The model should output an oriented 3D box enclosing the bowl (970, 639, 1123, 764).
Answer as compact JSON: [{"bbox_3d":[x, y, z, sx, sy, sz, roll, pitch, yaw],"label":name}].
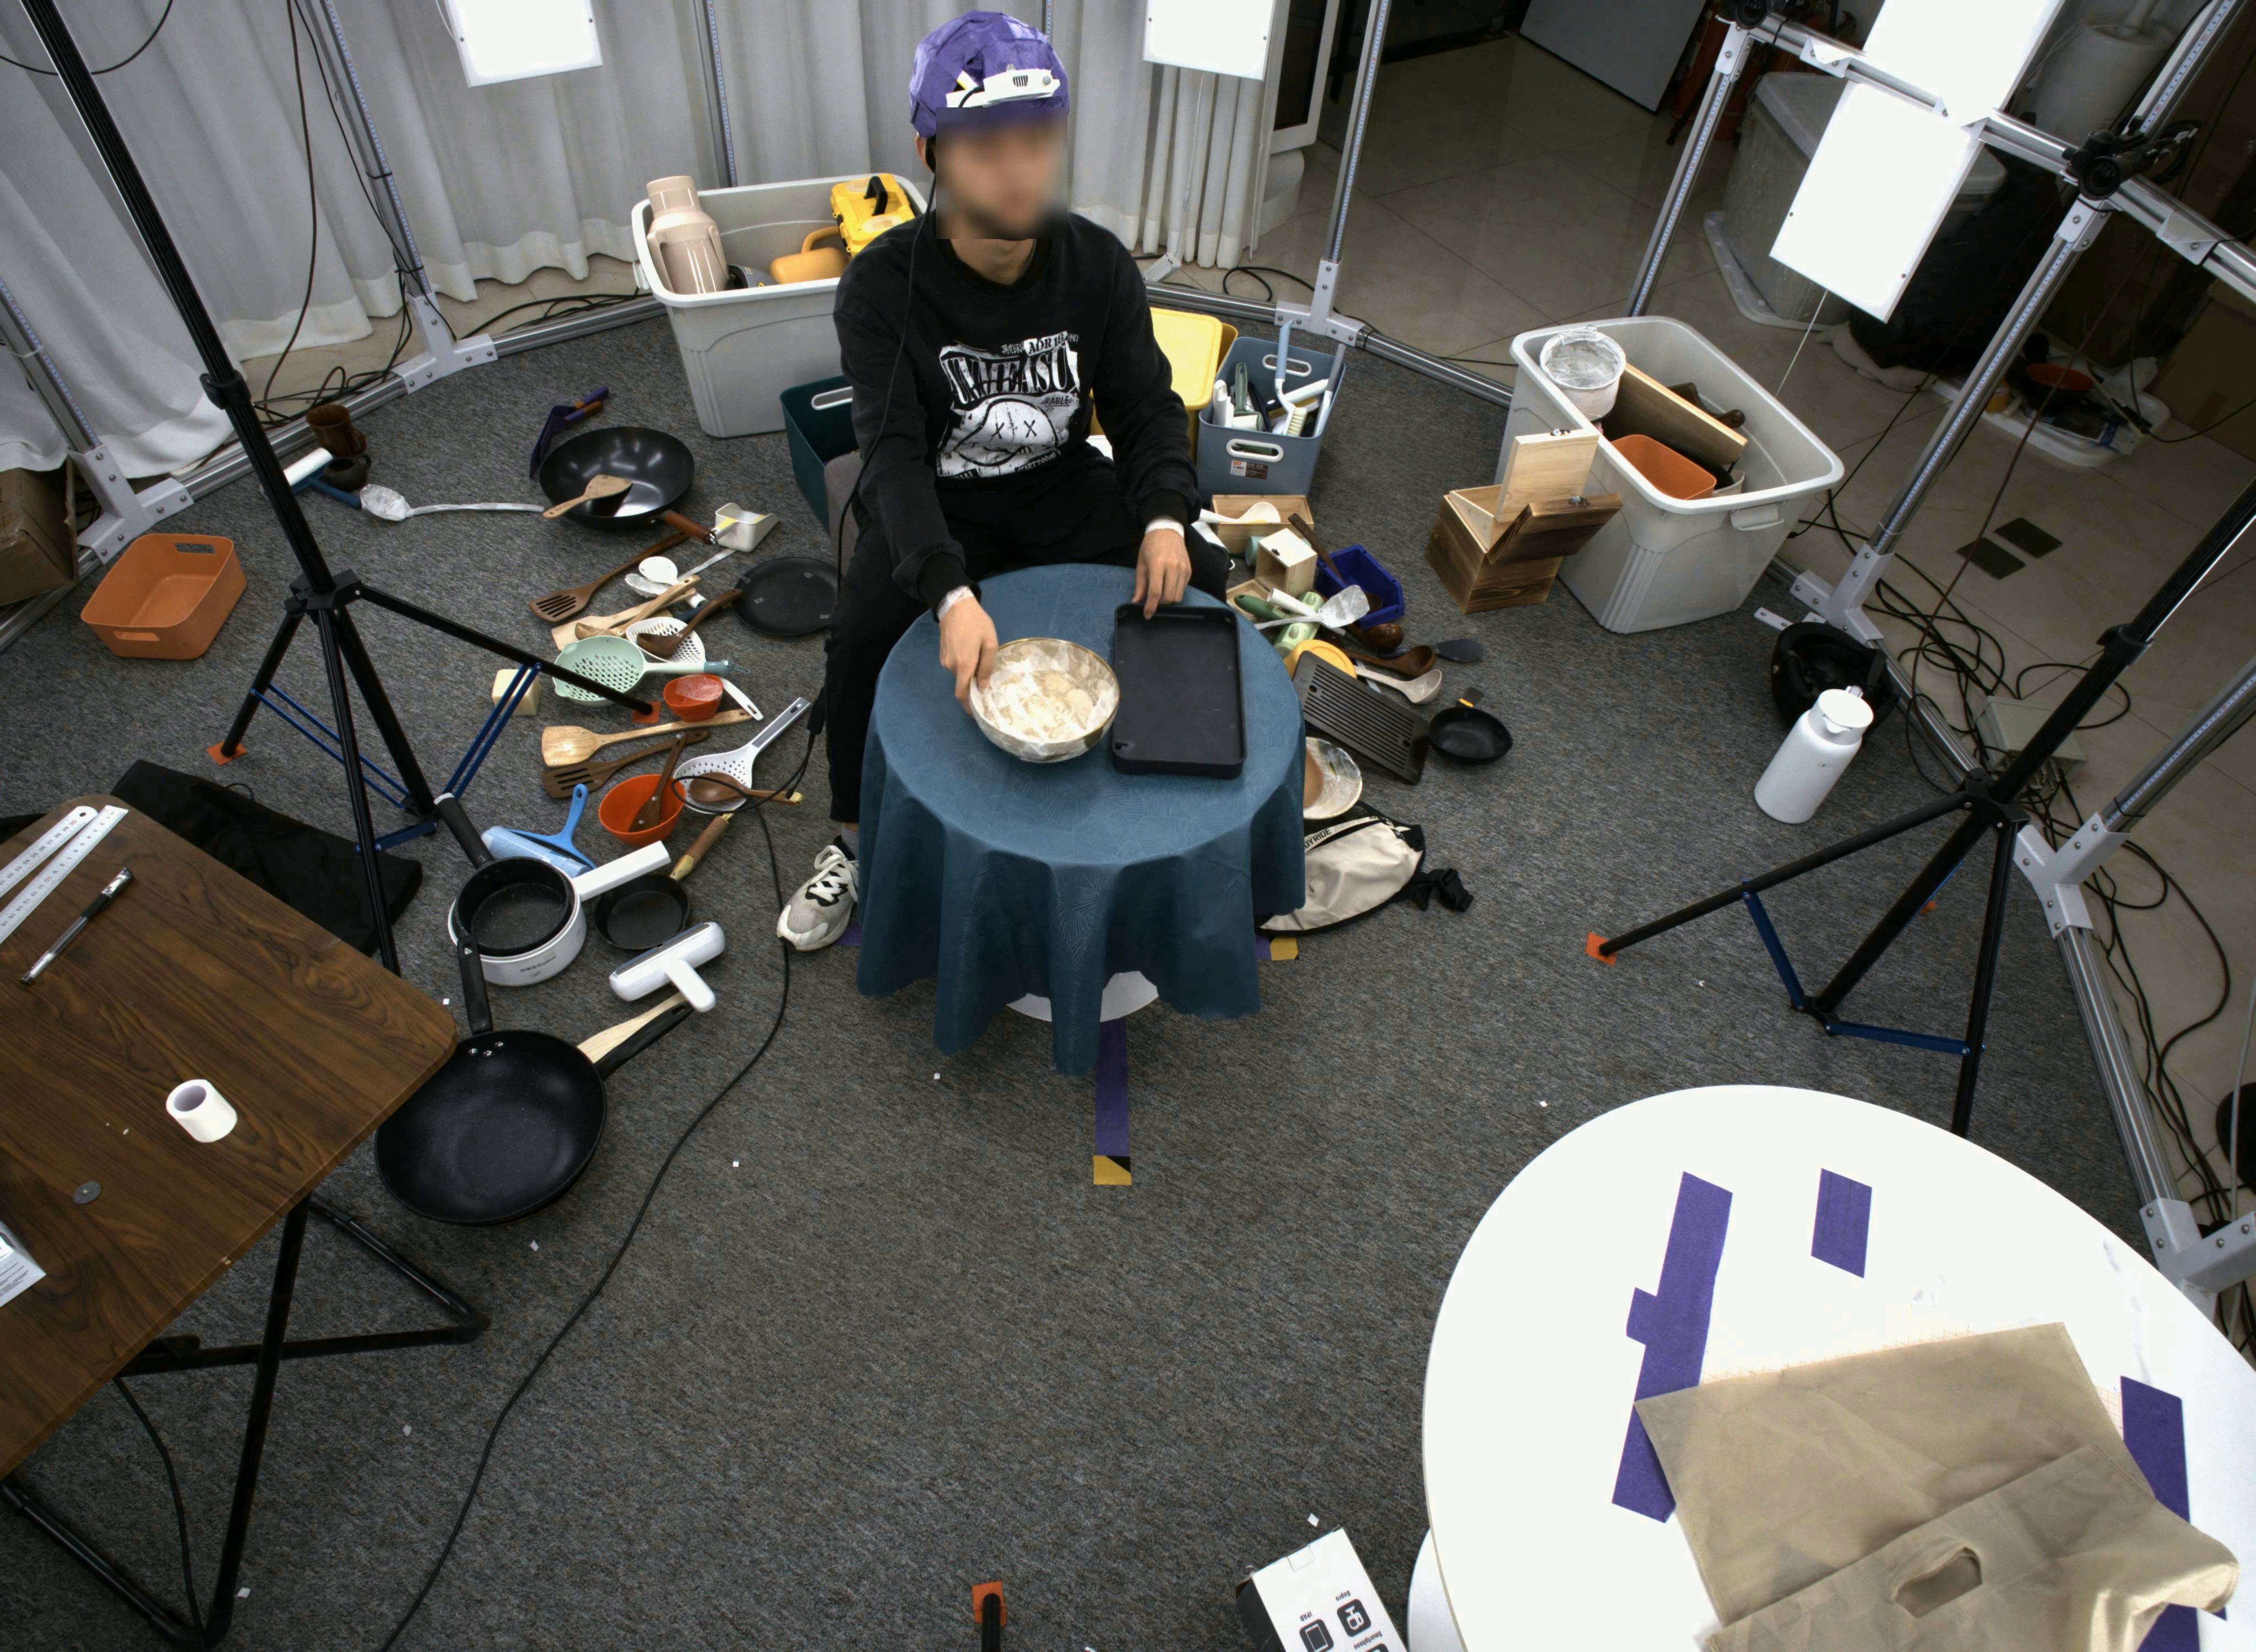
[{"bbox_3d":[-0.110,-0.157,1.752,0.214,0.092,0.220,2,49,-3],"label":"bowl"}]

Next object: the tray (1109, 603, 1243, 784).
[{"bbox_3d":[0.069,-0.195,1.839,0.184,0.036,0.326,4,50,-1],"label":"tray"}]
